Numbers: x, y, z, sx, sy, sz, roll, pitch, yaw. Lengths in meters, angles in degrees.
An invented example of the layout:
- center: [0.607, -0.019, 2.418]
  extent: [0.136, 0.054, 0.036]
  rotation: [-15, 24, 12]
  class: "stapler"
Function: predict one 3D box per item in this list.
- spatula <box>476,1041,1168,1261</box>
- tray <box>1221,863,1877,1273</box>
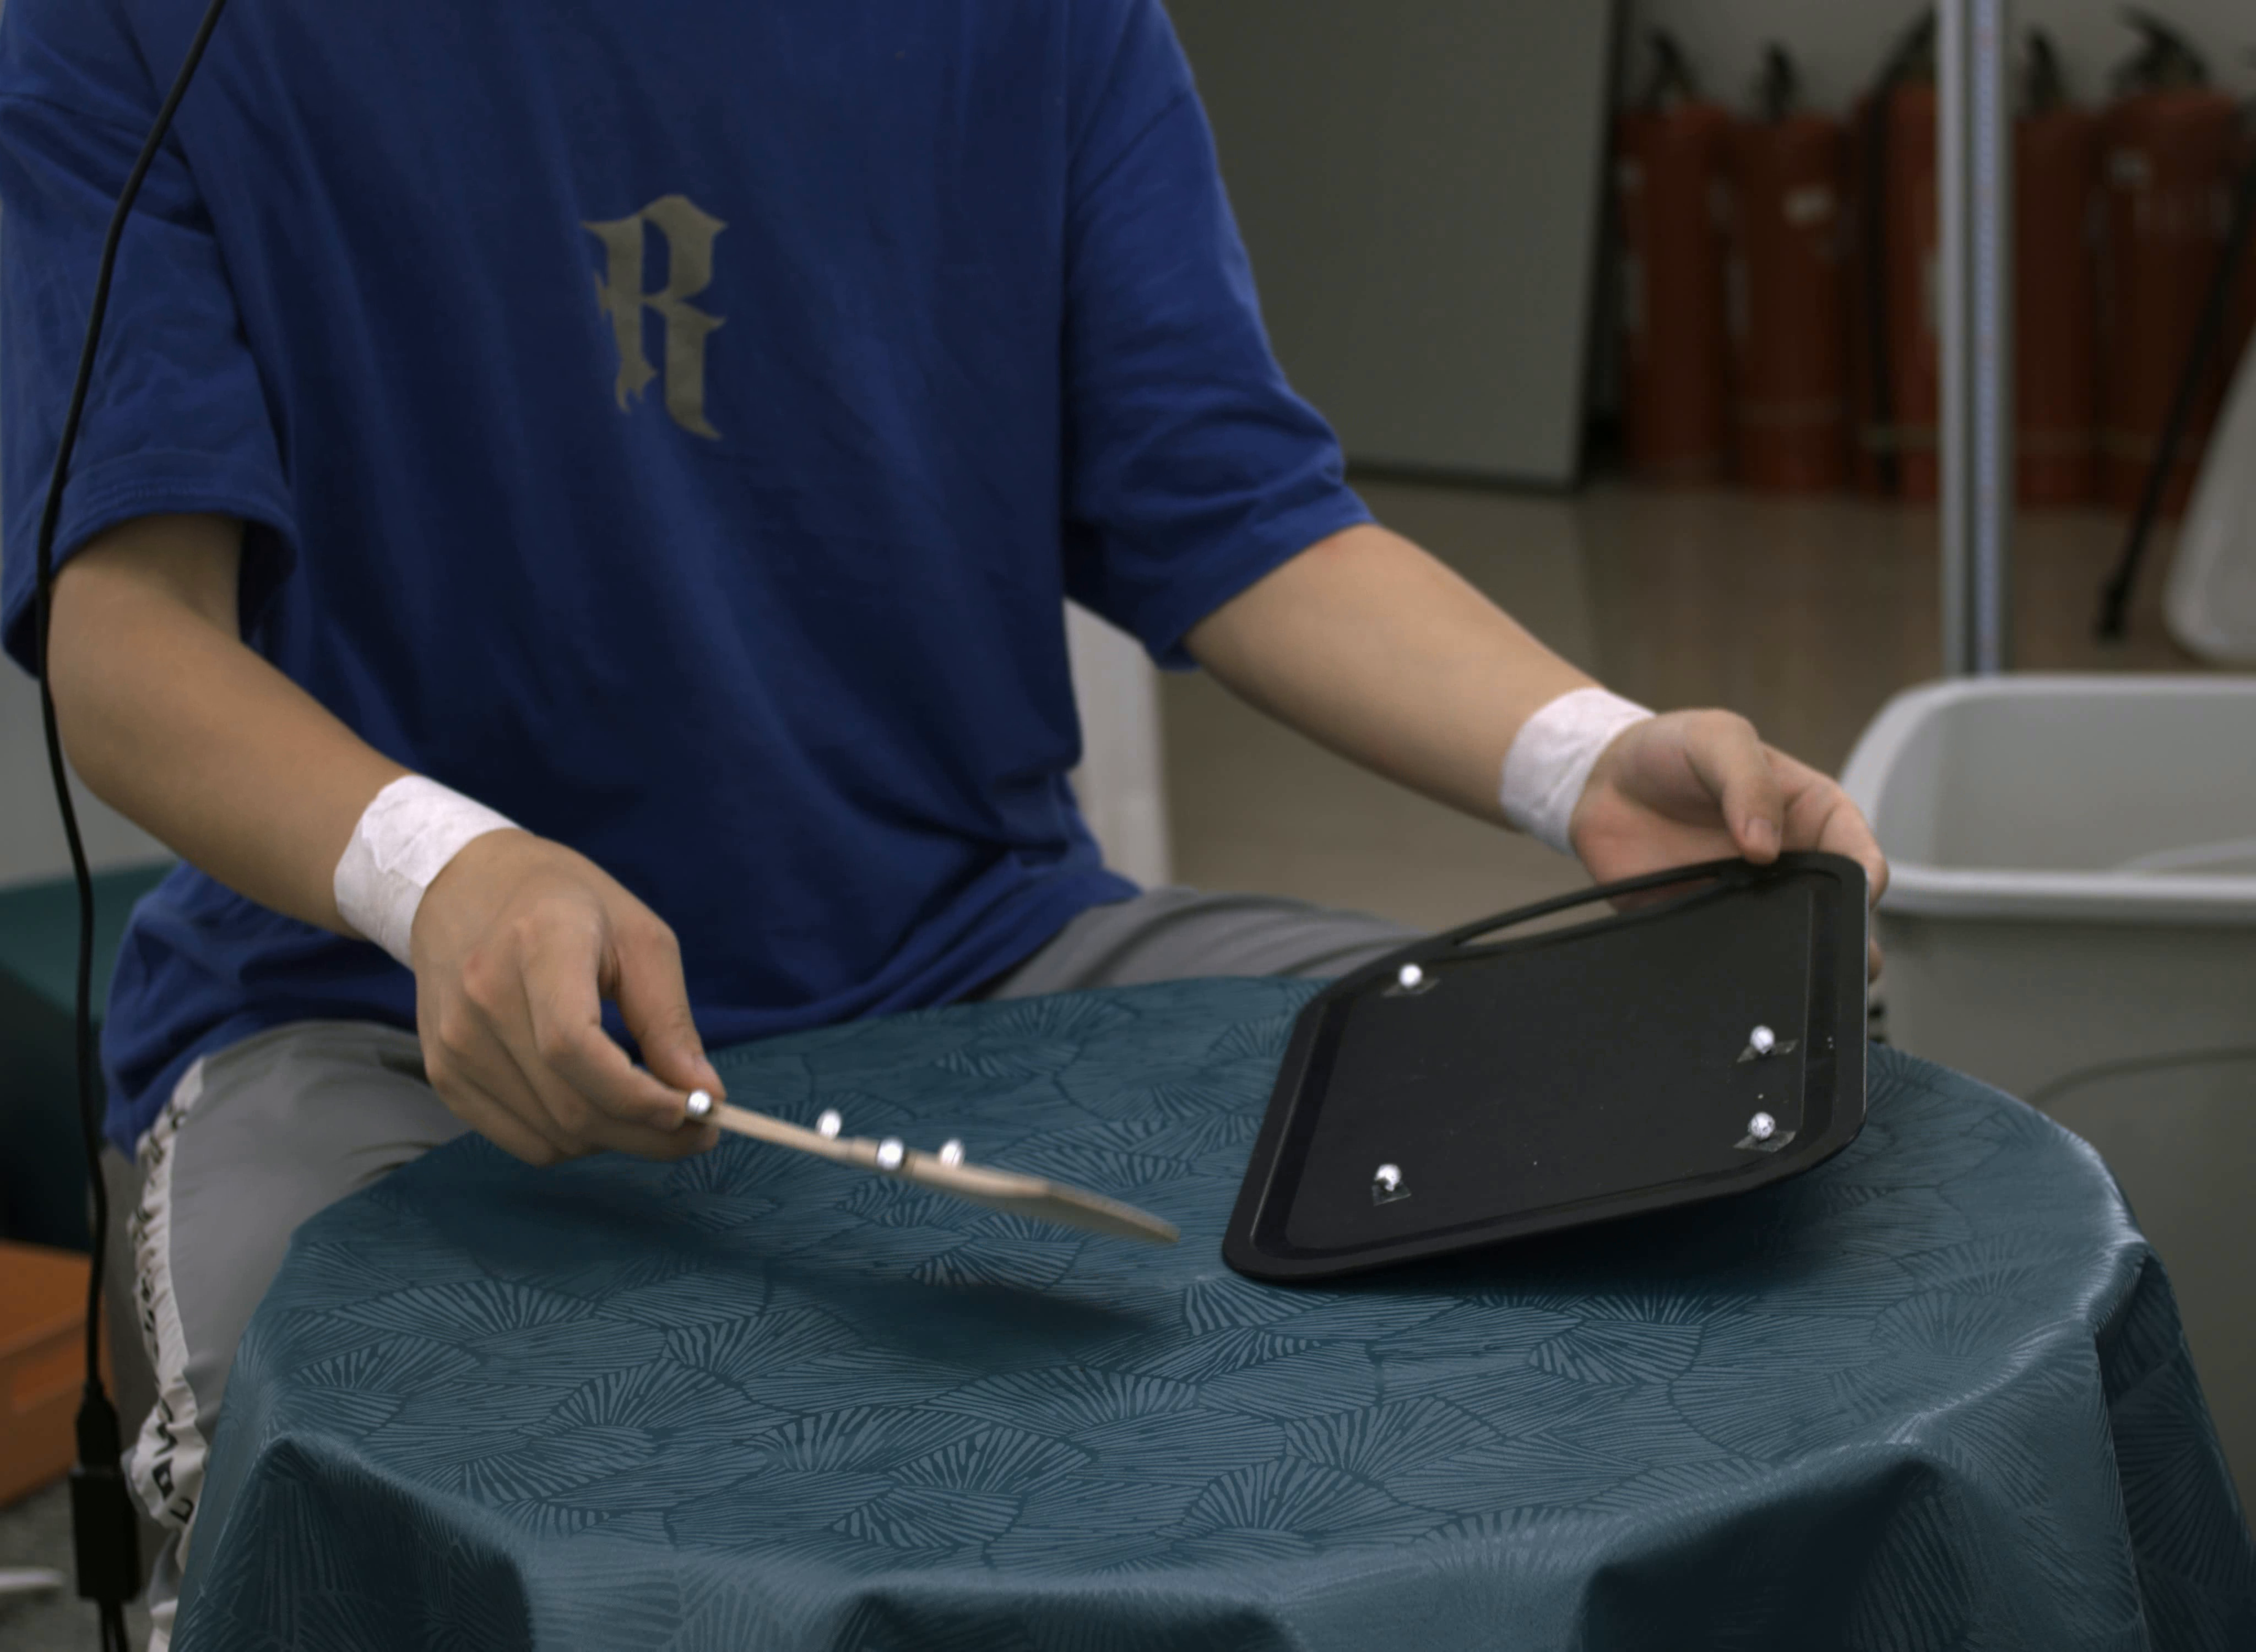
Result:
- center: [-0.111, 0.100, 1.723]
  extent: [0.296, 0.011, 0.071]
  rotation: [13, -8, 44]
  class: "spatula"
- center: [0.145, 0.074, 1.793]
  extent: [0.210, 0.010, 0.324]
  rotation: [-14, 15, 14]
  class: "tray"
